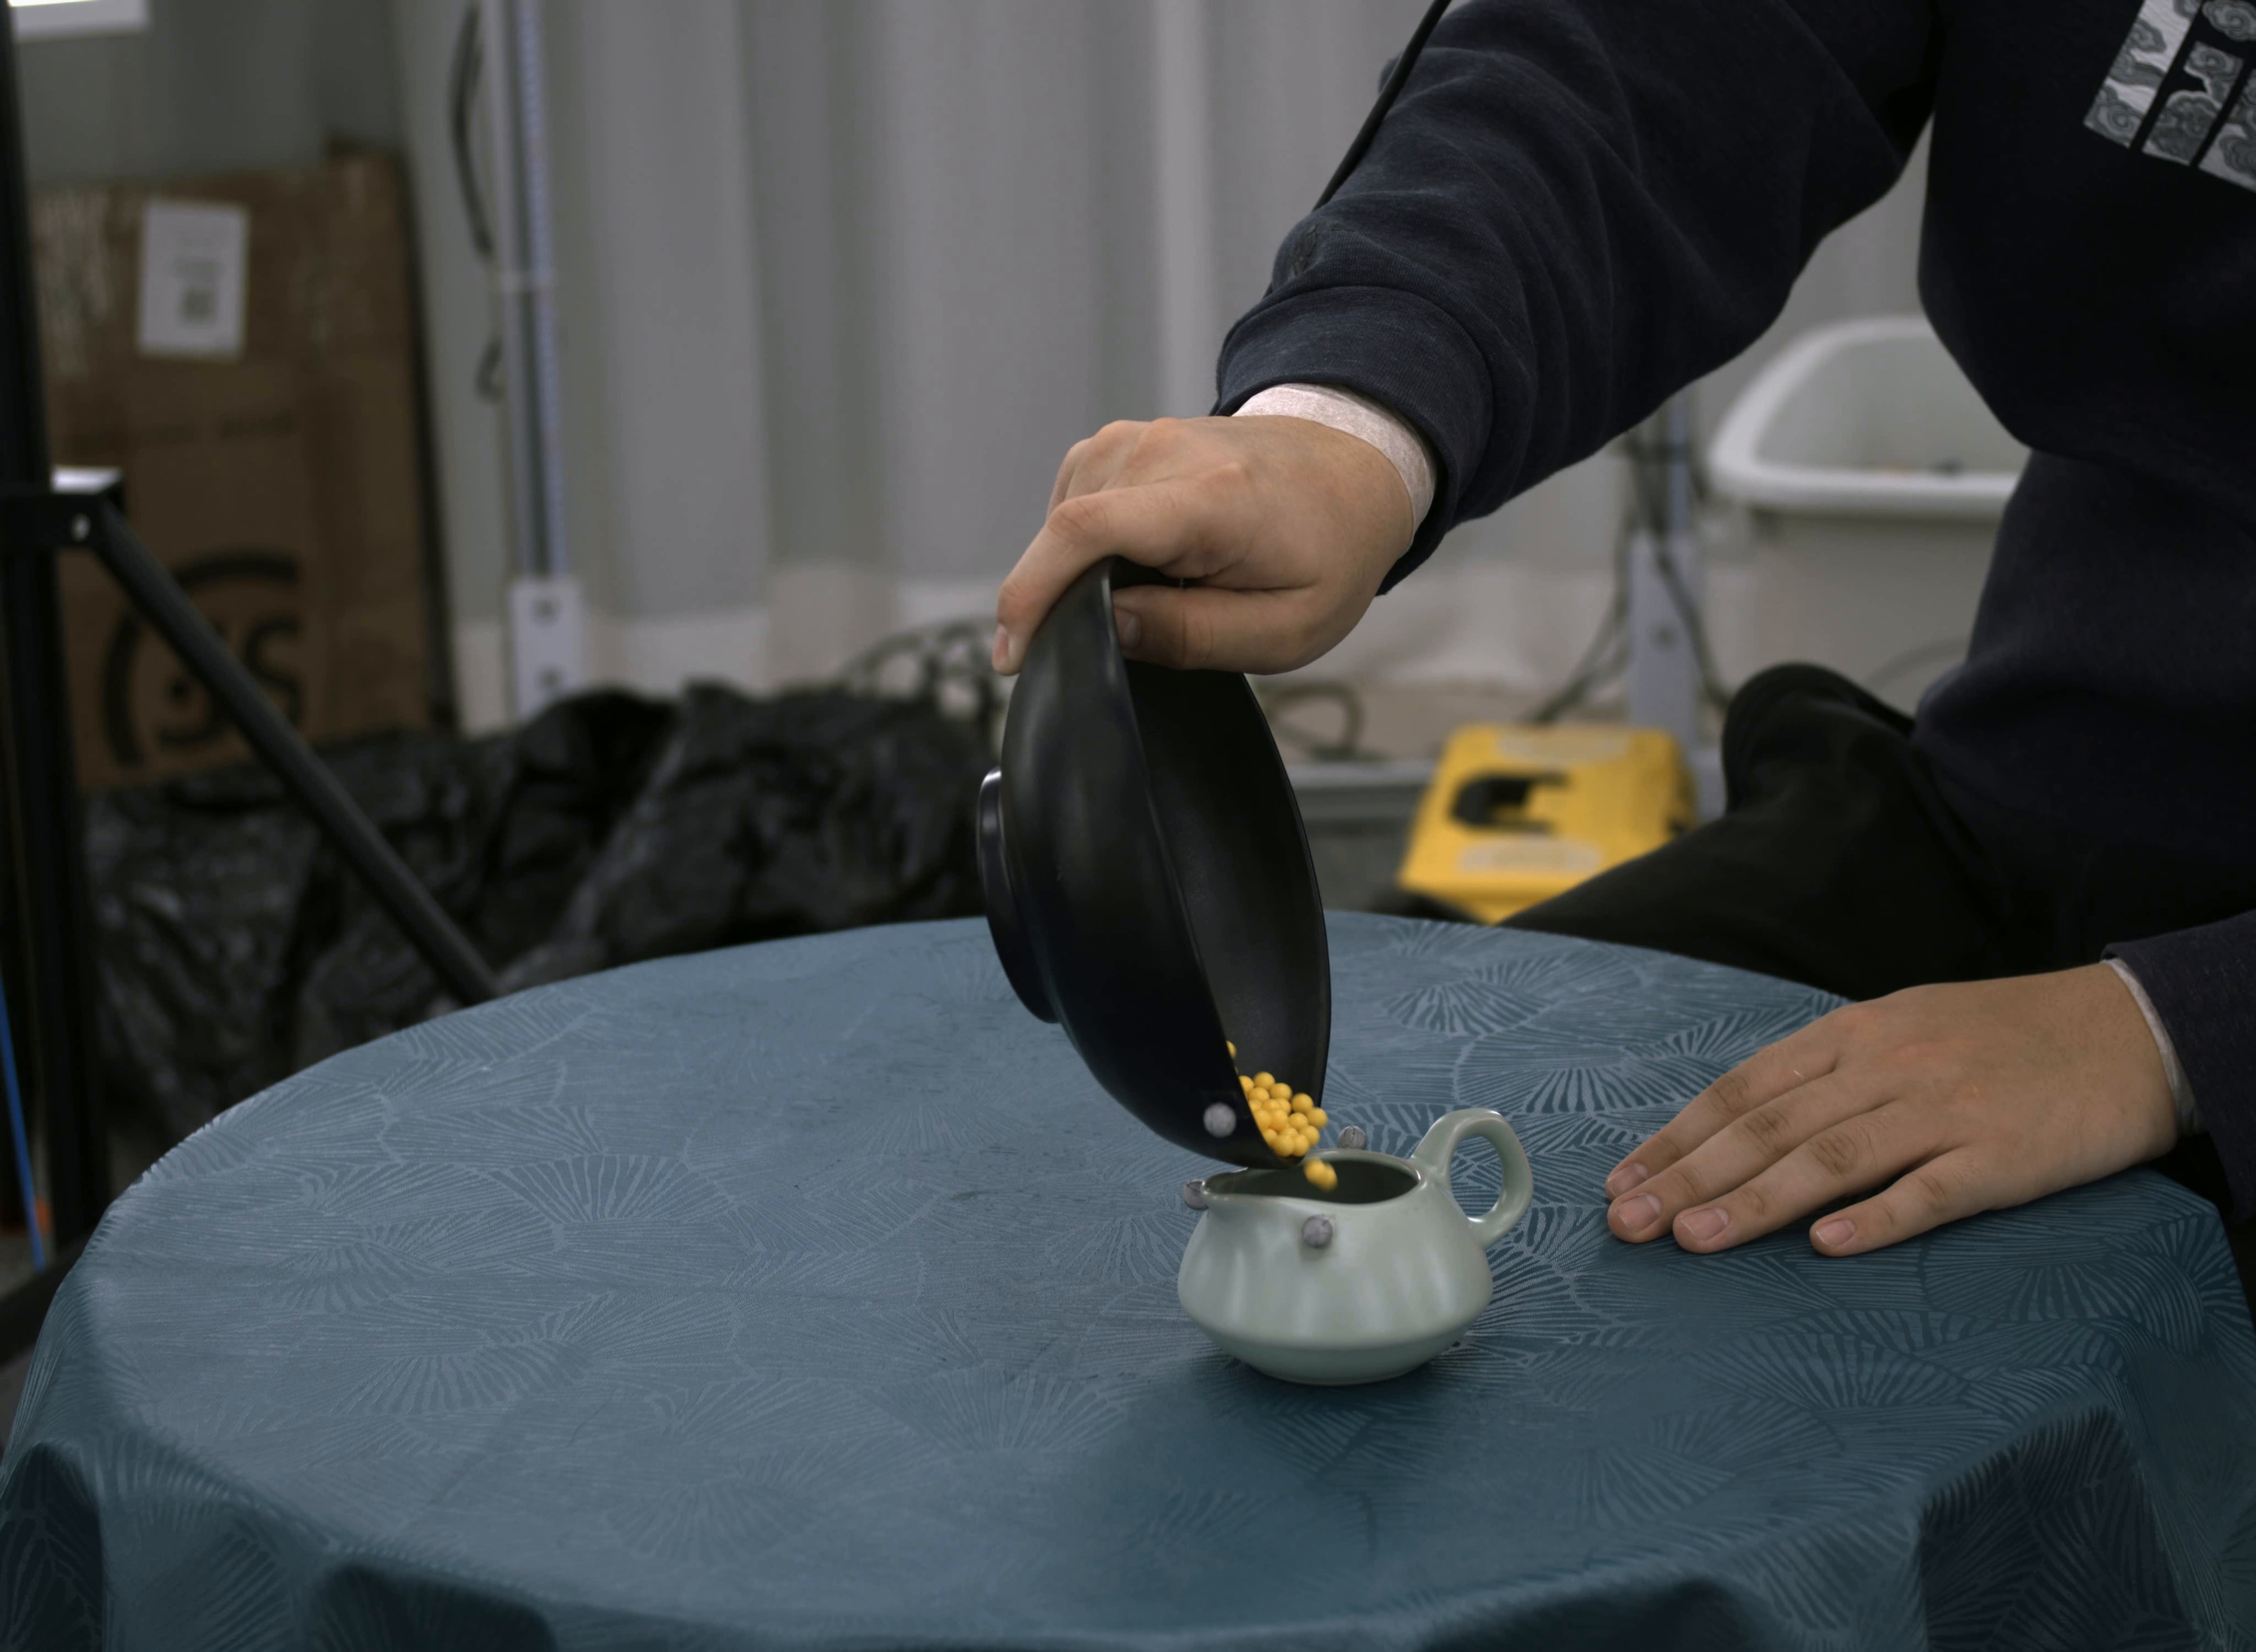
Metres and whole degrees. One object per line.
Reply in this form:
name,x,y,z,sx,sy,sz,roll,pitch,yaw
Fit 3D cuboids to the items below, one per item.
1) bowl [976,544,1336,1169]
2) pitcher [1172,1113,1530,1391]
bowl,0.001,0.013,1.404,0.067,0.170,0.136,-13,6,16
pitcher,0.064,0.114,1.426,0.105,0.060,0.088,-11,19,-33
